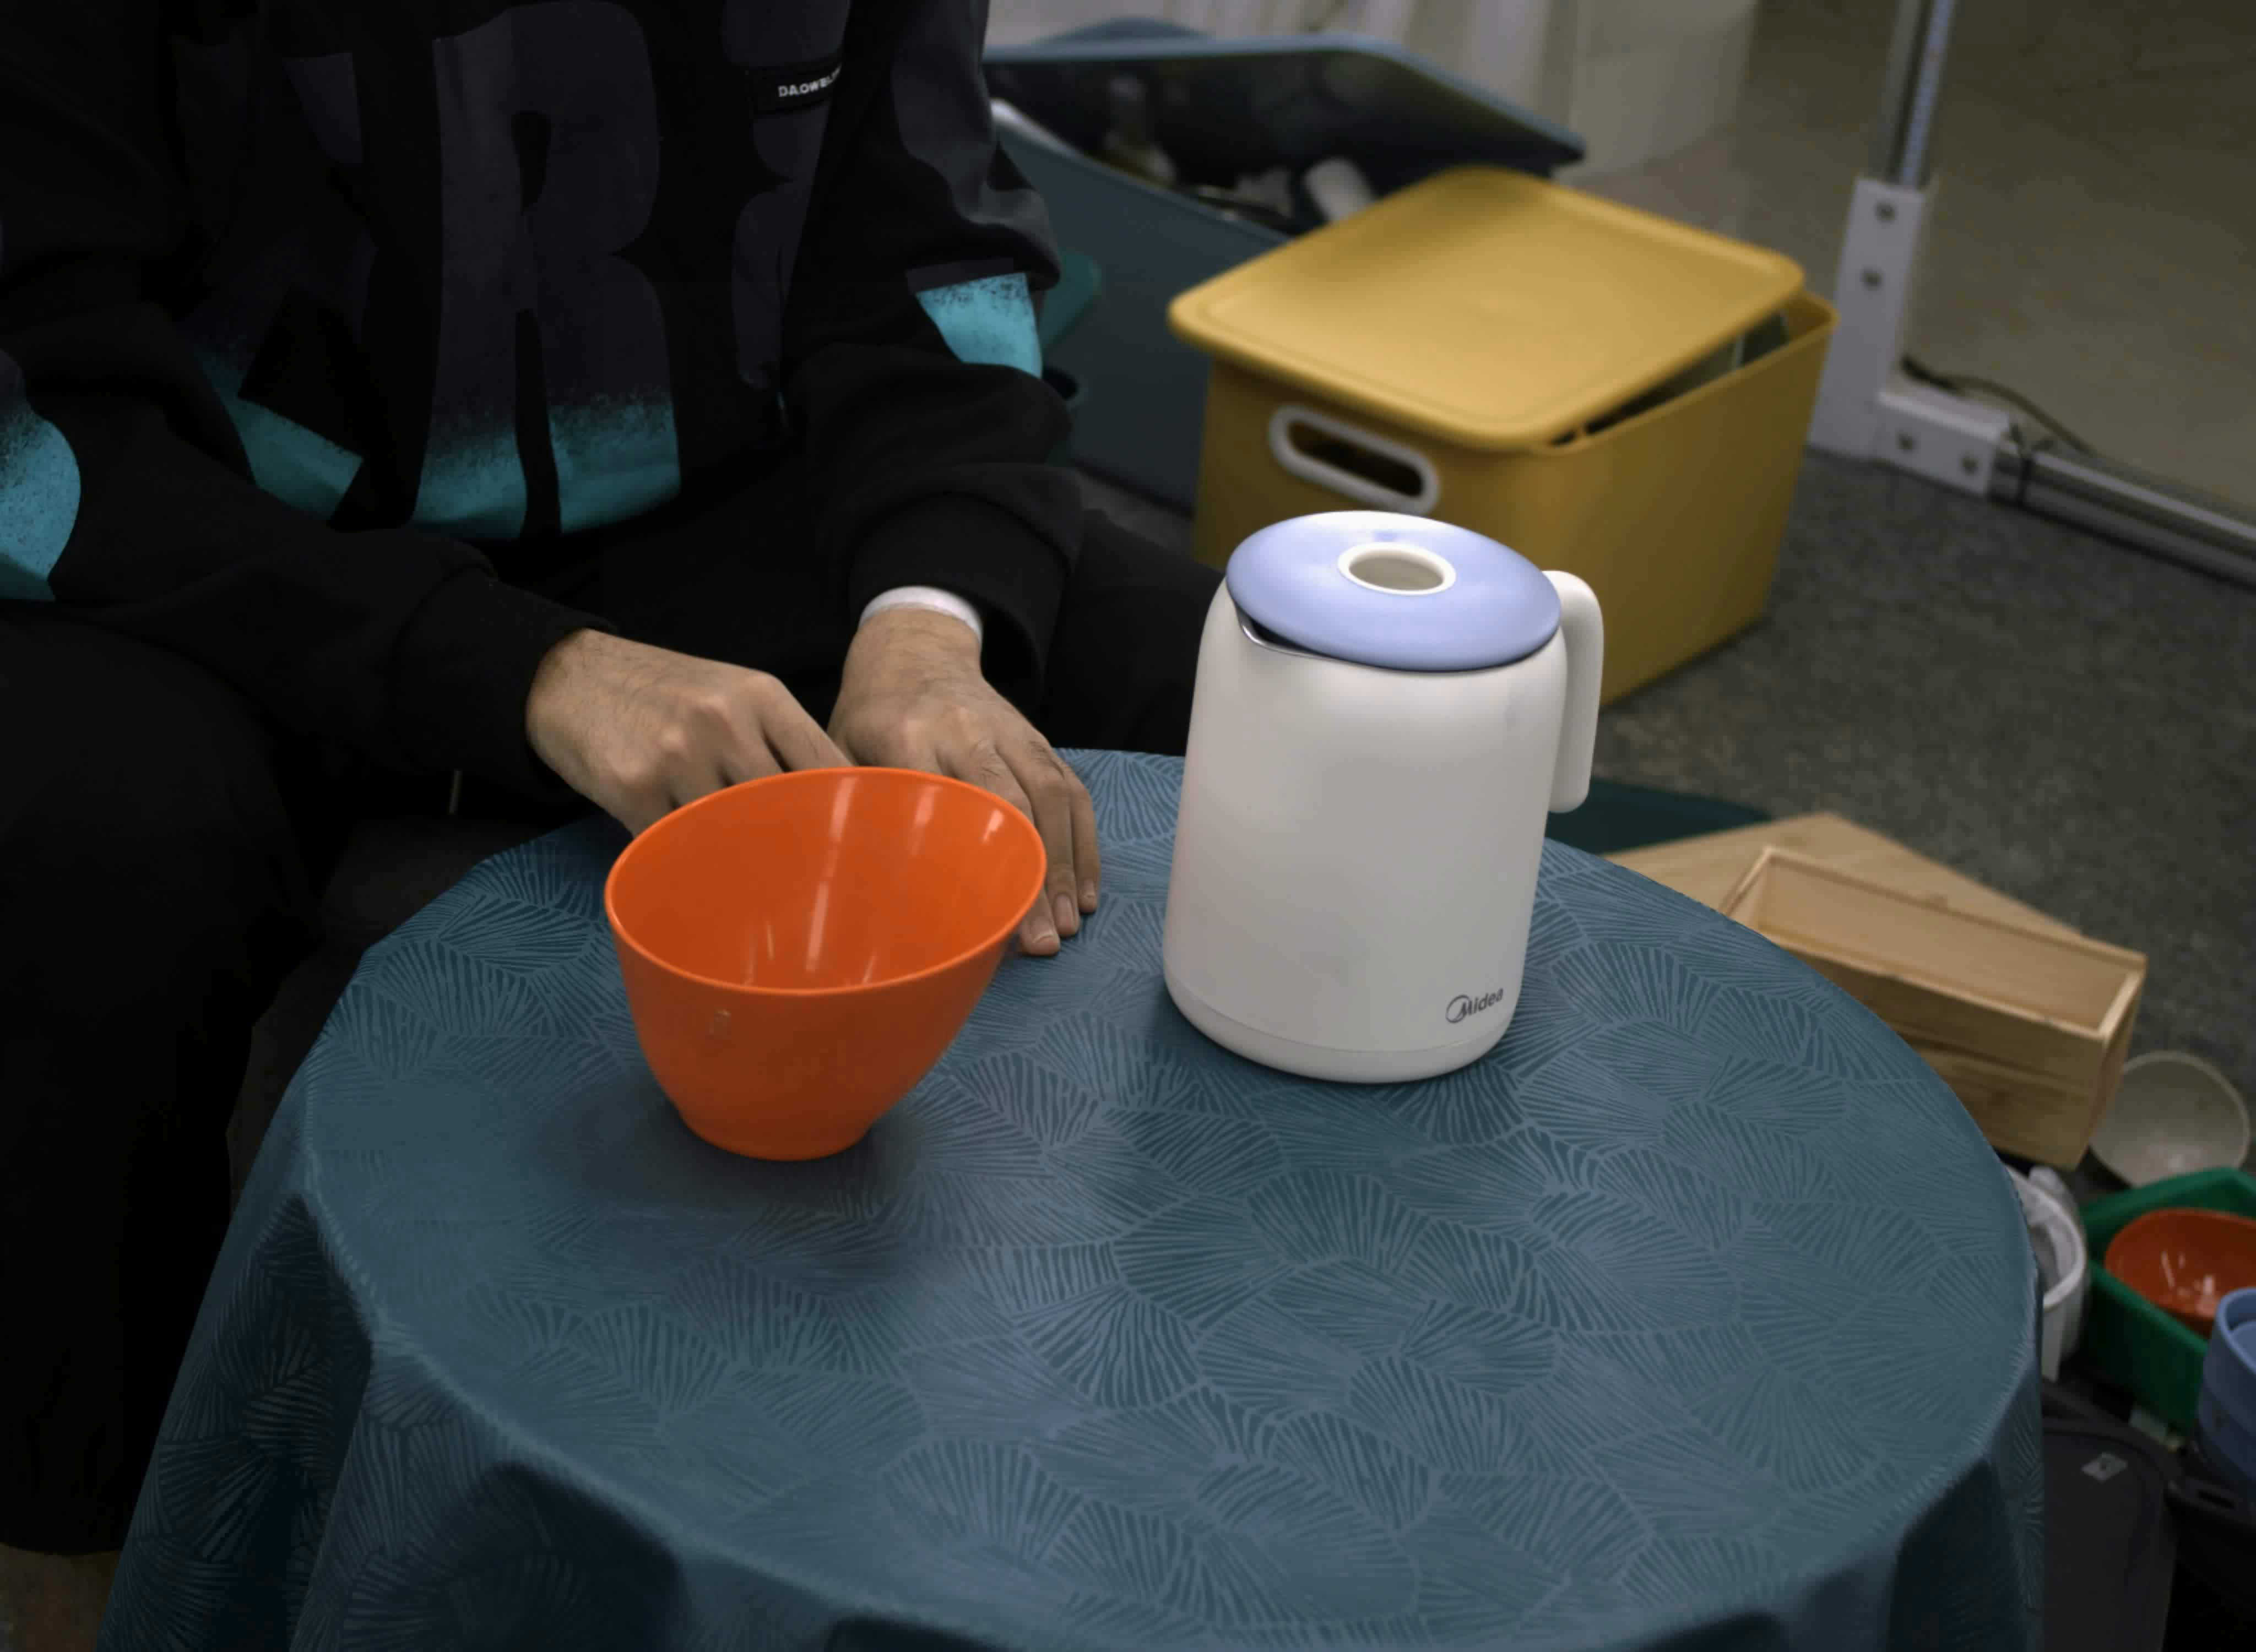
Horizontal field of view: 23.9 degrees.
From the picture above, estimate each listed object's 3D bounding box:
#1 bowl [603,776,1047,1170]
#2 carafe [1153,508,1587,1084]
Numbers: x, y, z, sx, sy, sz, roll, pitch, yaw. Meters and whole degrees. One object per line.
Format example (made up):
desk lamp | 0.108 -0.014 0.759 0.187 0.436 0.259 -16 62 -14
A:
bowl | -0.105 0.055 1.800 0.147 0.104 0.149 5 26 -3
carafe | 0.099 -0.017 1.910 0.133 0.182 0.190 30 32 36
